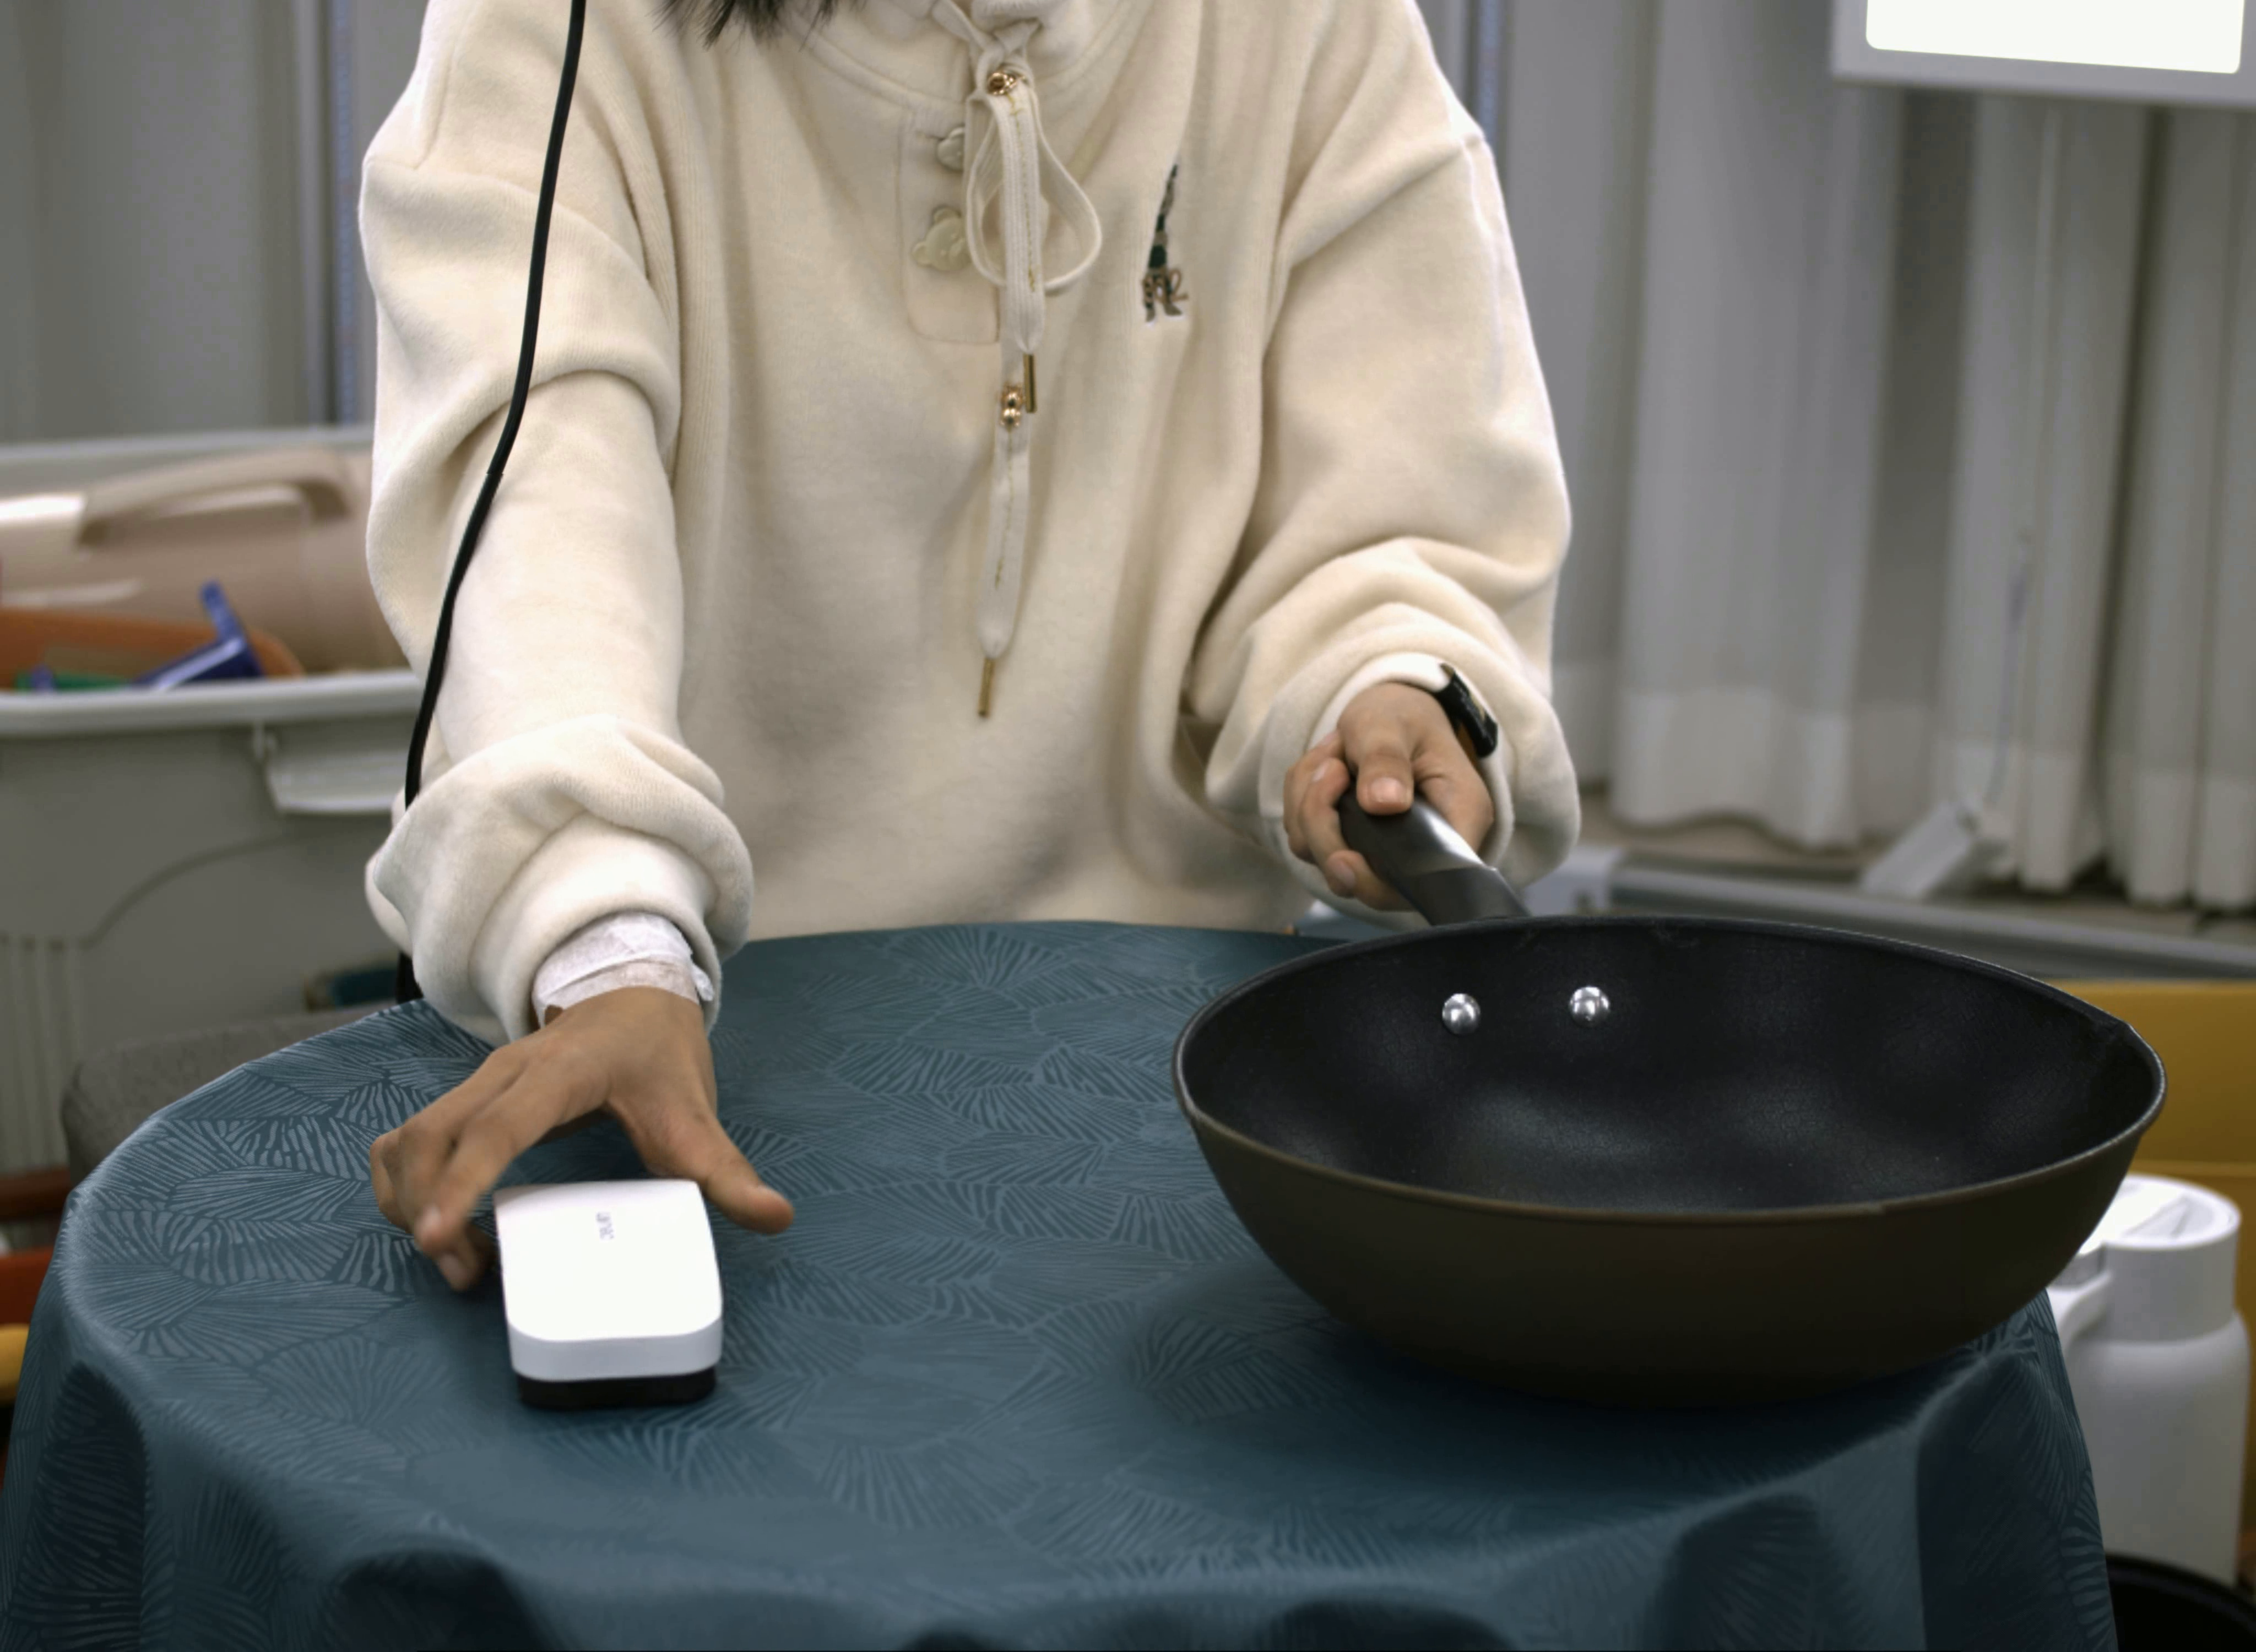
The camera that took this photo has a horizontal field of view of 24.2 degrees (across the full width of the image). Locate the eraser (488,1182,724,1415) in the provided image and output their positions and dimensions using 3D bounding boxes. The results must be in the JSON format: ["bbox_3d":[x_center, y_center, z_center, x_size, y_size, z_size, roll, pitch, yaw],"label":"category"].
[{"bbox_3d":[-0.149,0.130,1.497,0.063,0.035,0.130,1,16,-9],"label":"eraser"}]

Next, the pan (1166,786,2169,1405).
[{"bbox_3d":[0.131,0.078,1.590,0.288,0.087,0.459,-3,15,-14],"label":"pan"}]
